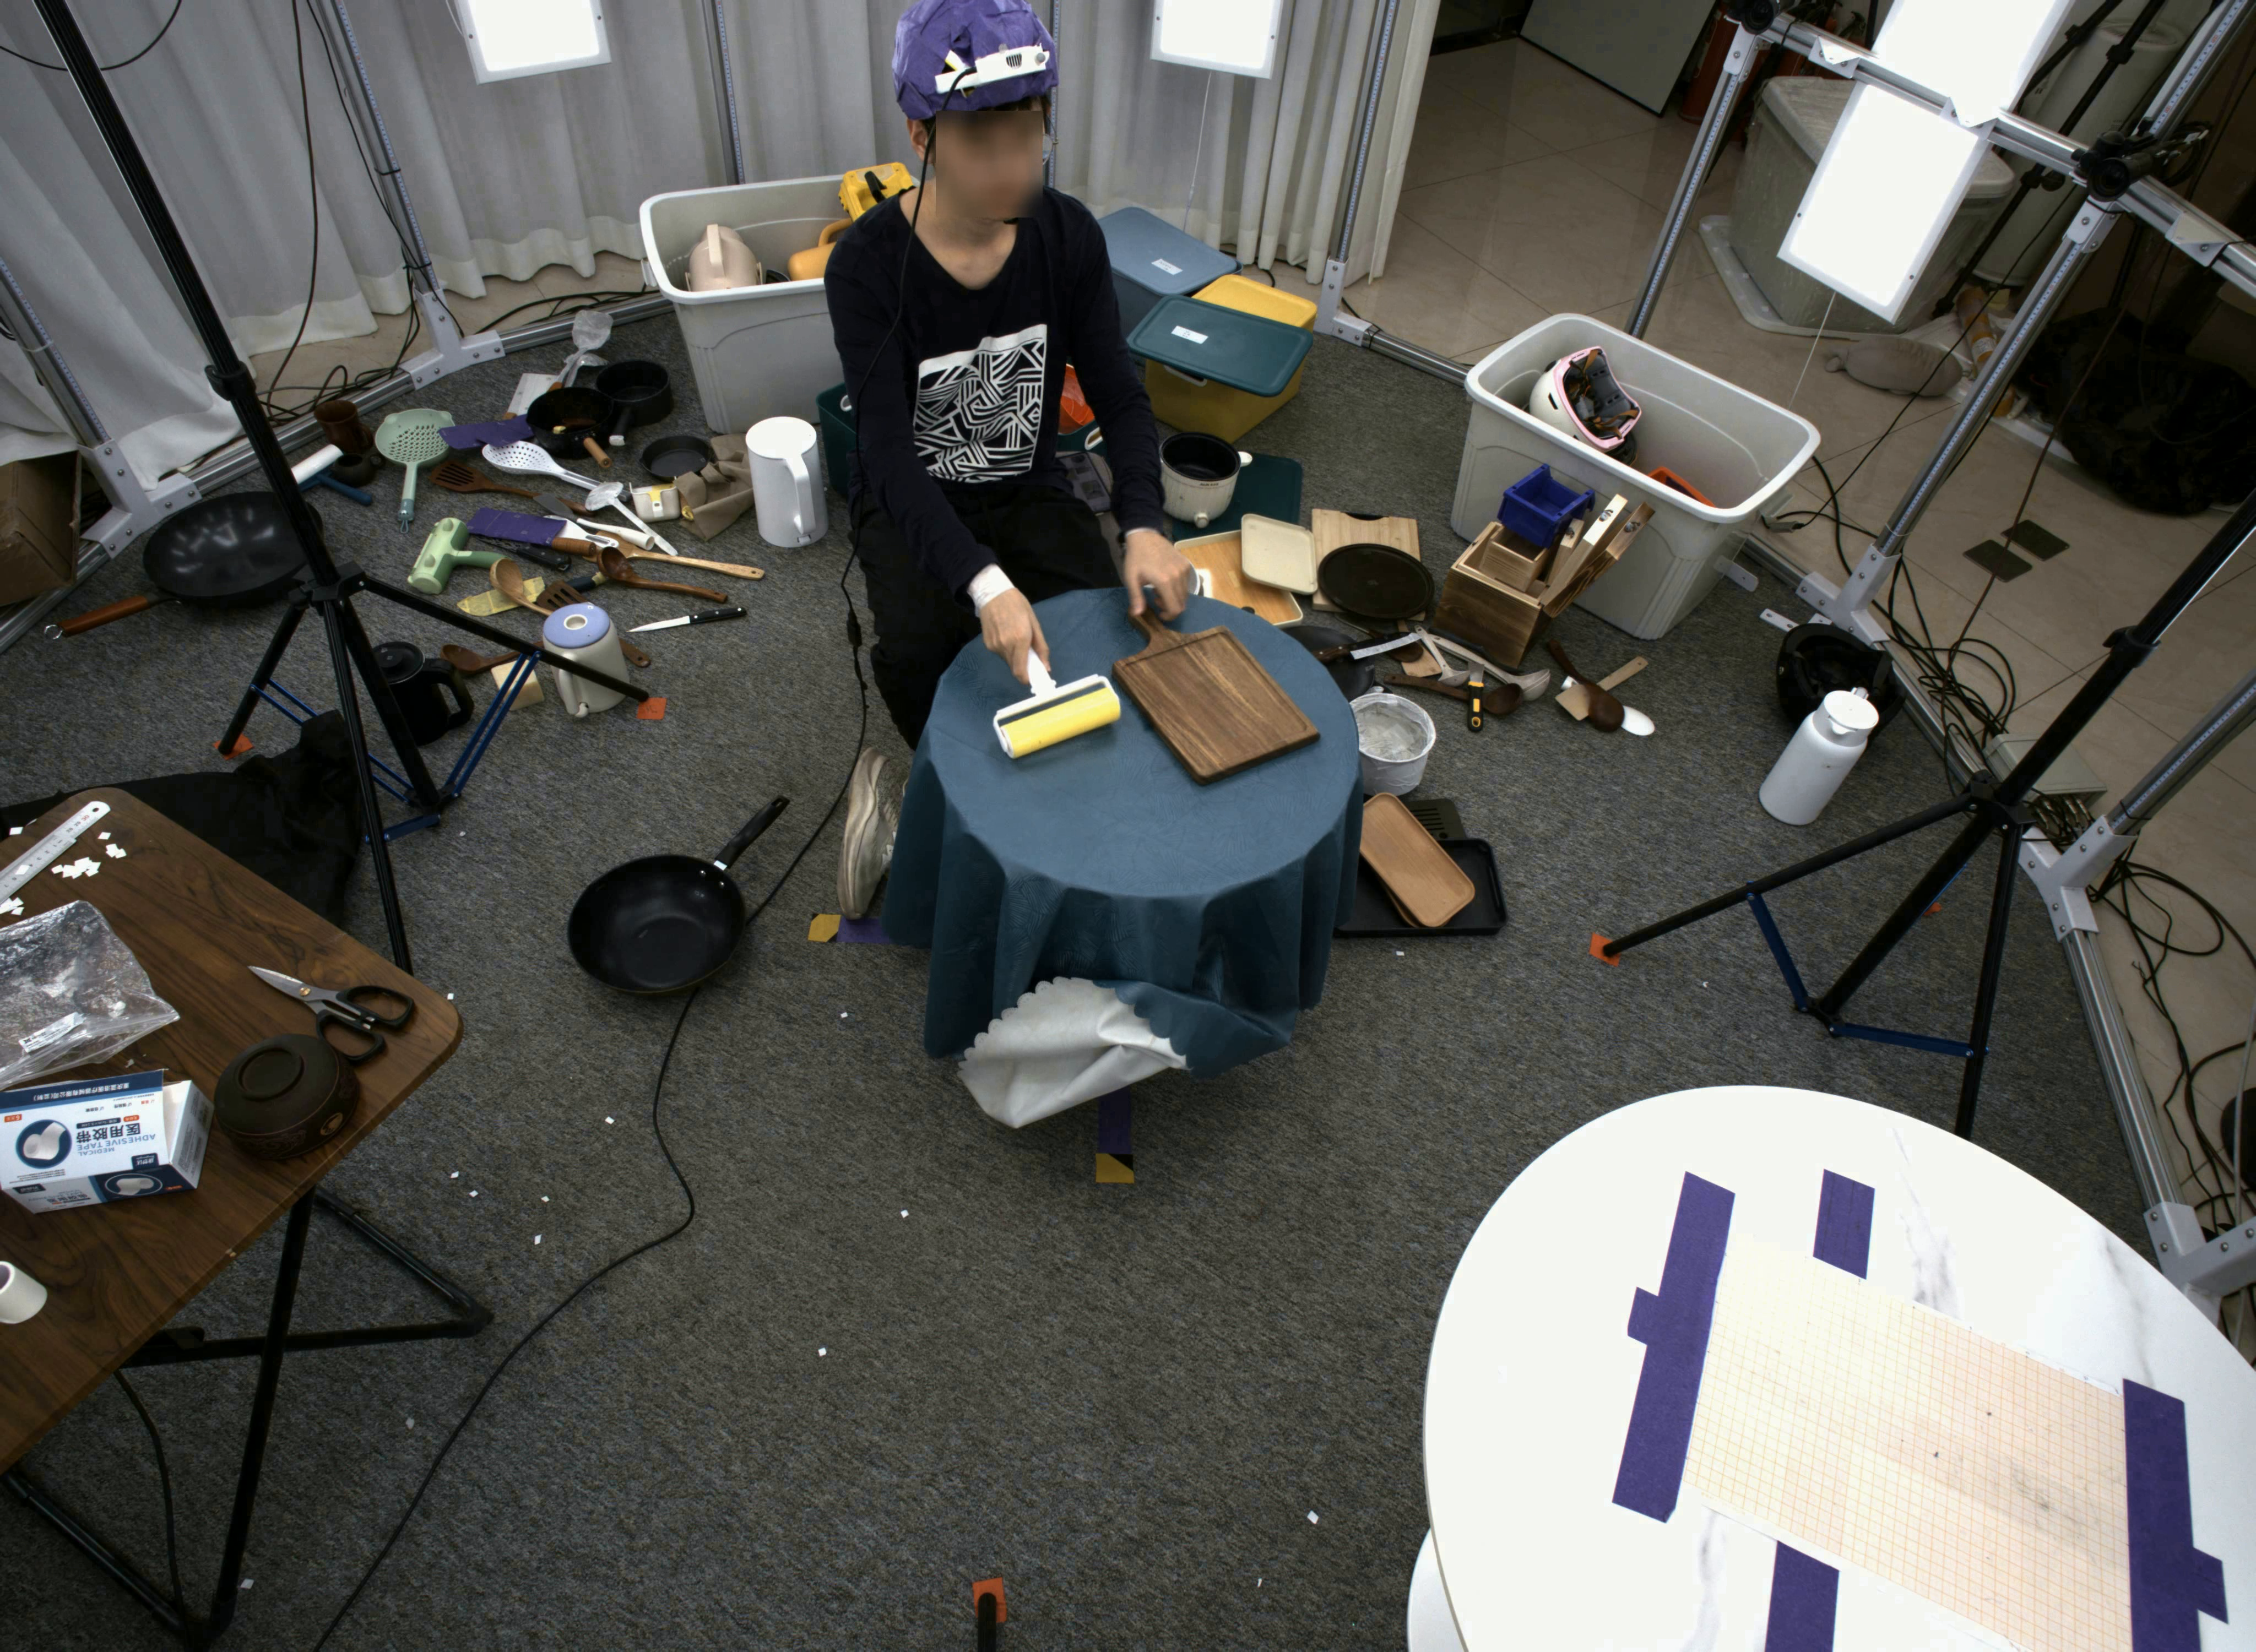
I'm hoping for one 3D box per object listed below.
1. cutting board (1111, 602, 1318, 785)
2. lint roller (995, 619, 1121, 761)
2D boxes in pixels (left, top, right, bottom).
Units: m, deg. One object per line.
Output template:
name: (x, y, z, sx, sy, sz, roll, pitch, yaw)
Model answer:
cutting board: (0.096, -0.211, 1.844, 0.201, 0.022, 0.359, -21, 54, -21)
lint roller: (-0.121, -0.203, 1.755, 0.175, 0.051, 0.193, -22, 83, -19)
